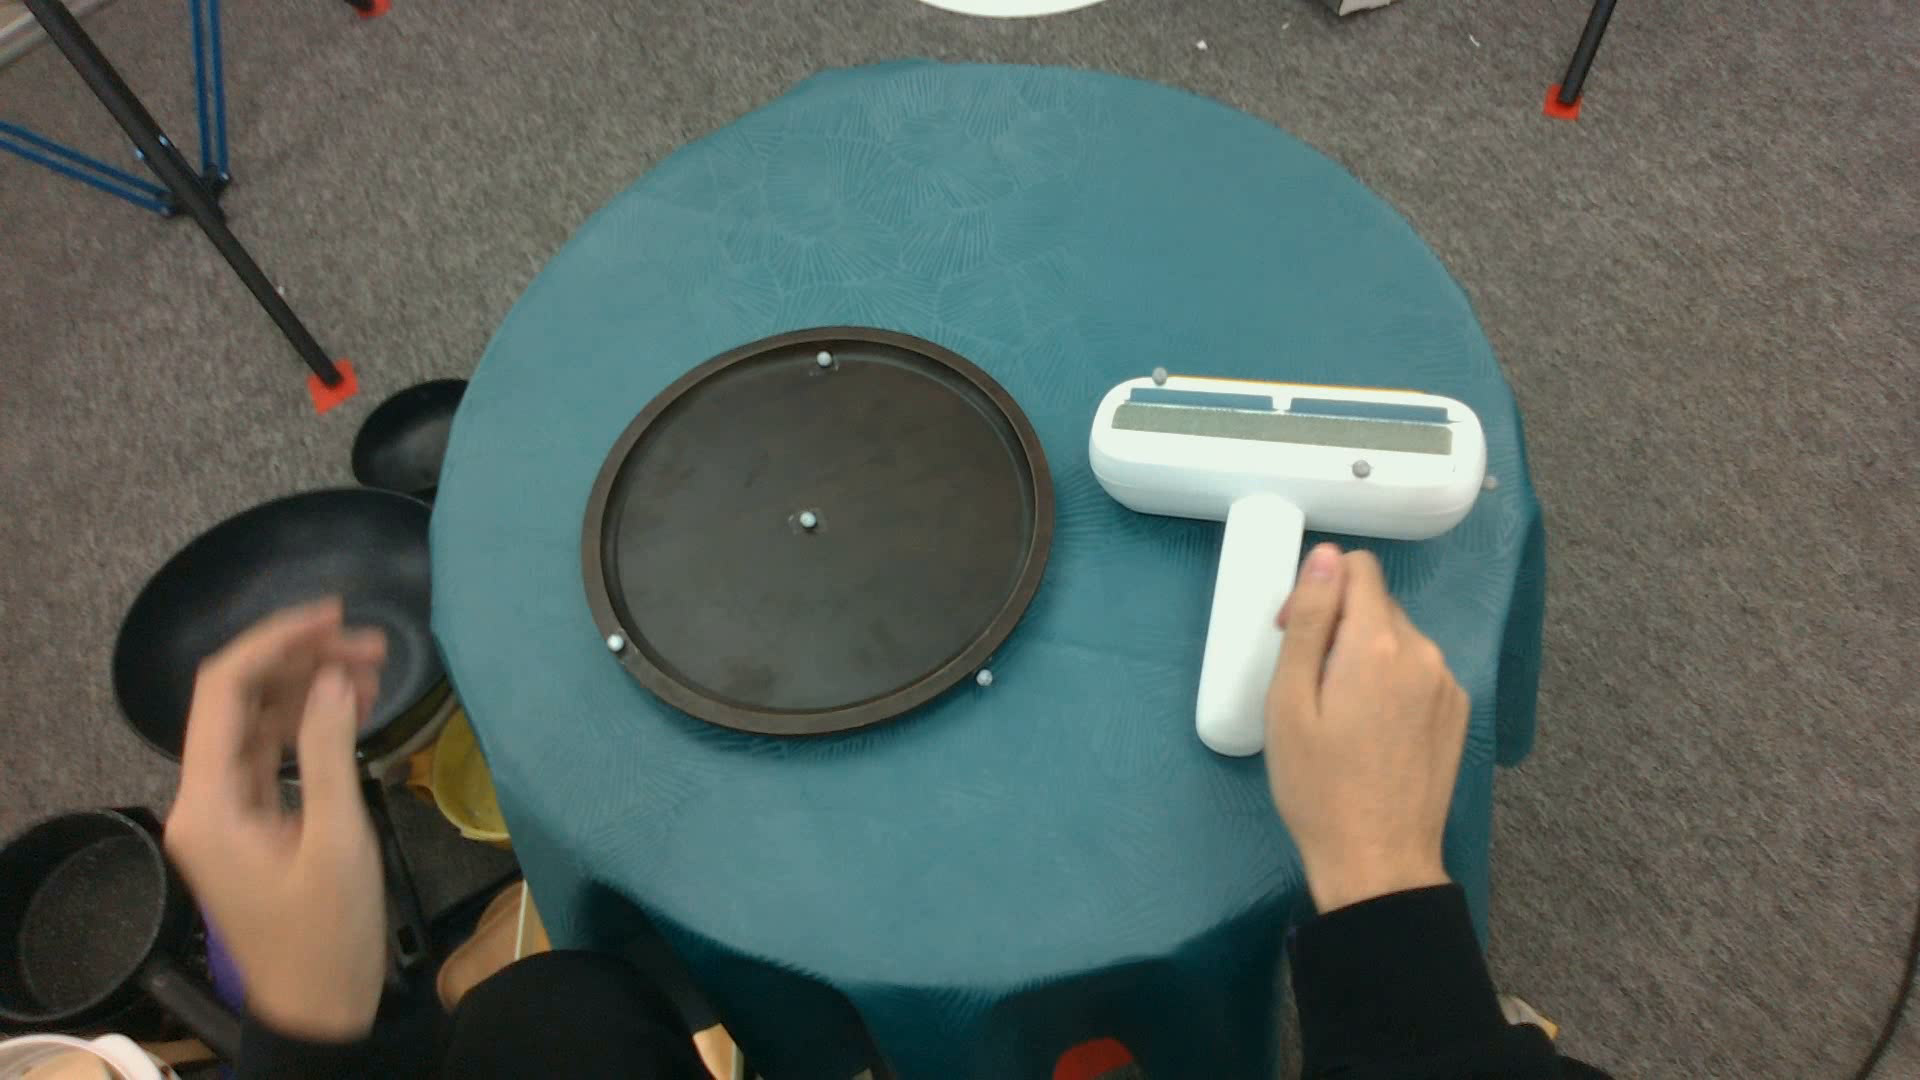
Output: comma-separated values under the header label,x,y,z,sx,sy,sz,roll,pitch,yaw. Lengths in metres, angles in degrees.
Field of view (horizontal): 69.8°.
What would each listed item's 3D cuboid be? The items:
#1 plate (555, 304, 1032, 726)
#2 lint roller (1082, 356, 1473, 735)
label,x,y,z,sx,sy,sz,roll,pitch,yaw
plate,-0.088,-0.018,0.732,0.255,0.029,0.256,-2,60,4
lint roller,0.139,0.001,0.677,0.192,0.074,0.193,12,62,18
